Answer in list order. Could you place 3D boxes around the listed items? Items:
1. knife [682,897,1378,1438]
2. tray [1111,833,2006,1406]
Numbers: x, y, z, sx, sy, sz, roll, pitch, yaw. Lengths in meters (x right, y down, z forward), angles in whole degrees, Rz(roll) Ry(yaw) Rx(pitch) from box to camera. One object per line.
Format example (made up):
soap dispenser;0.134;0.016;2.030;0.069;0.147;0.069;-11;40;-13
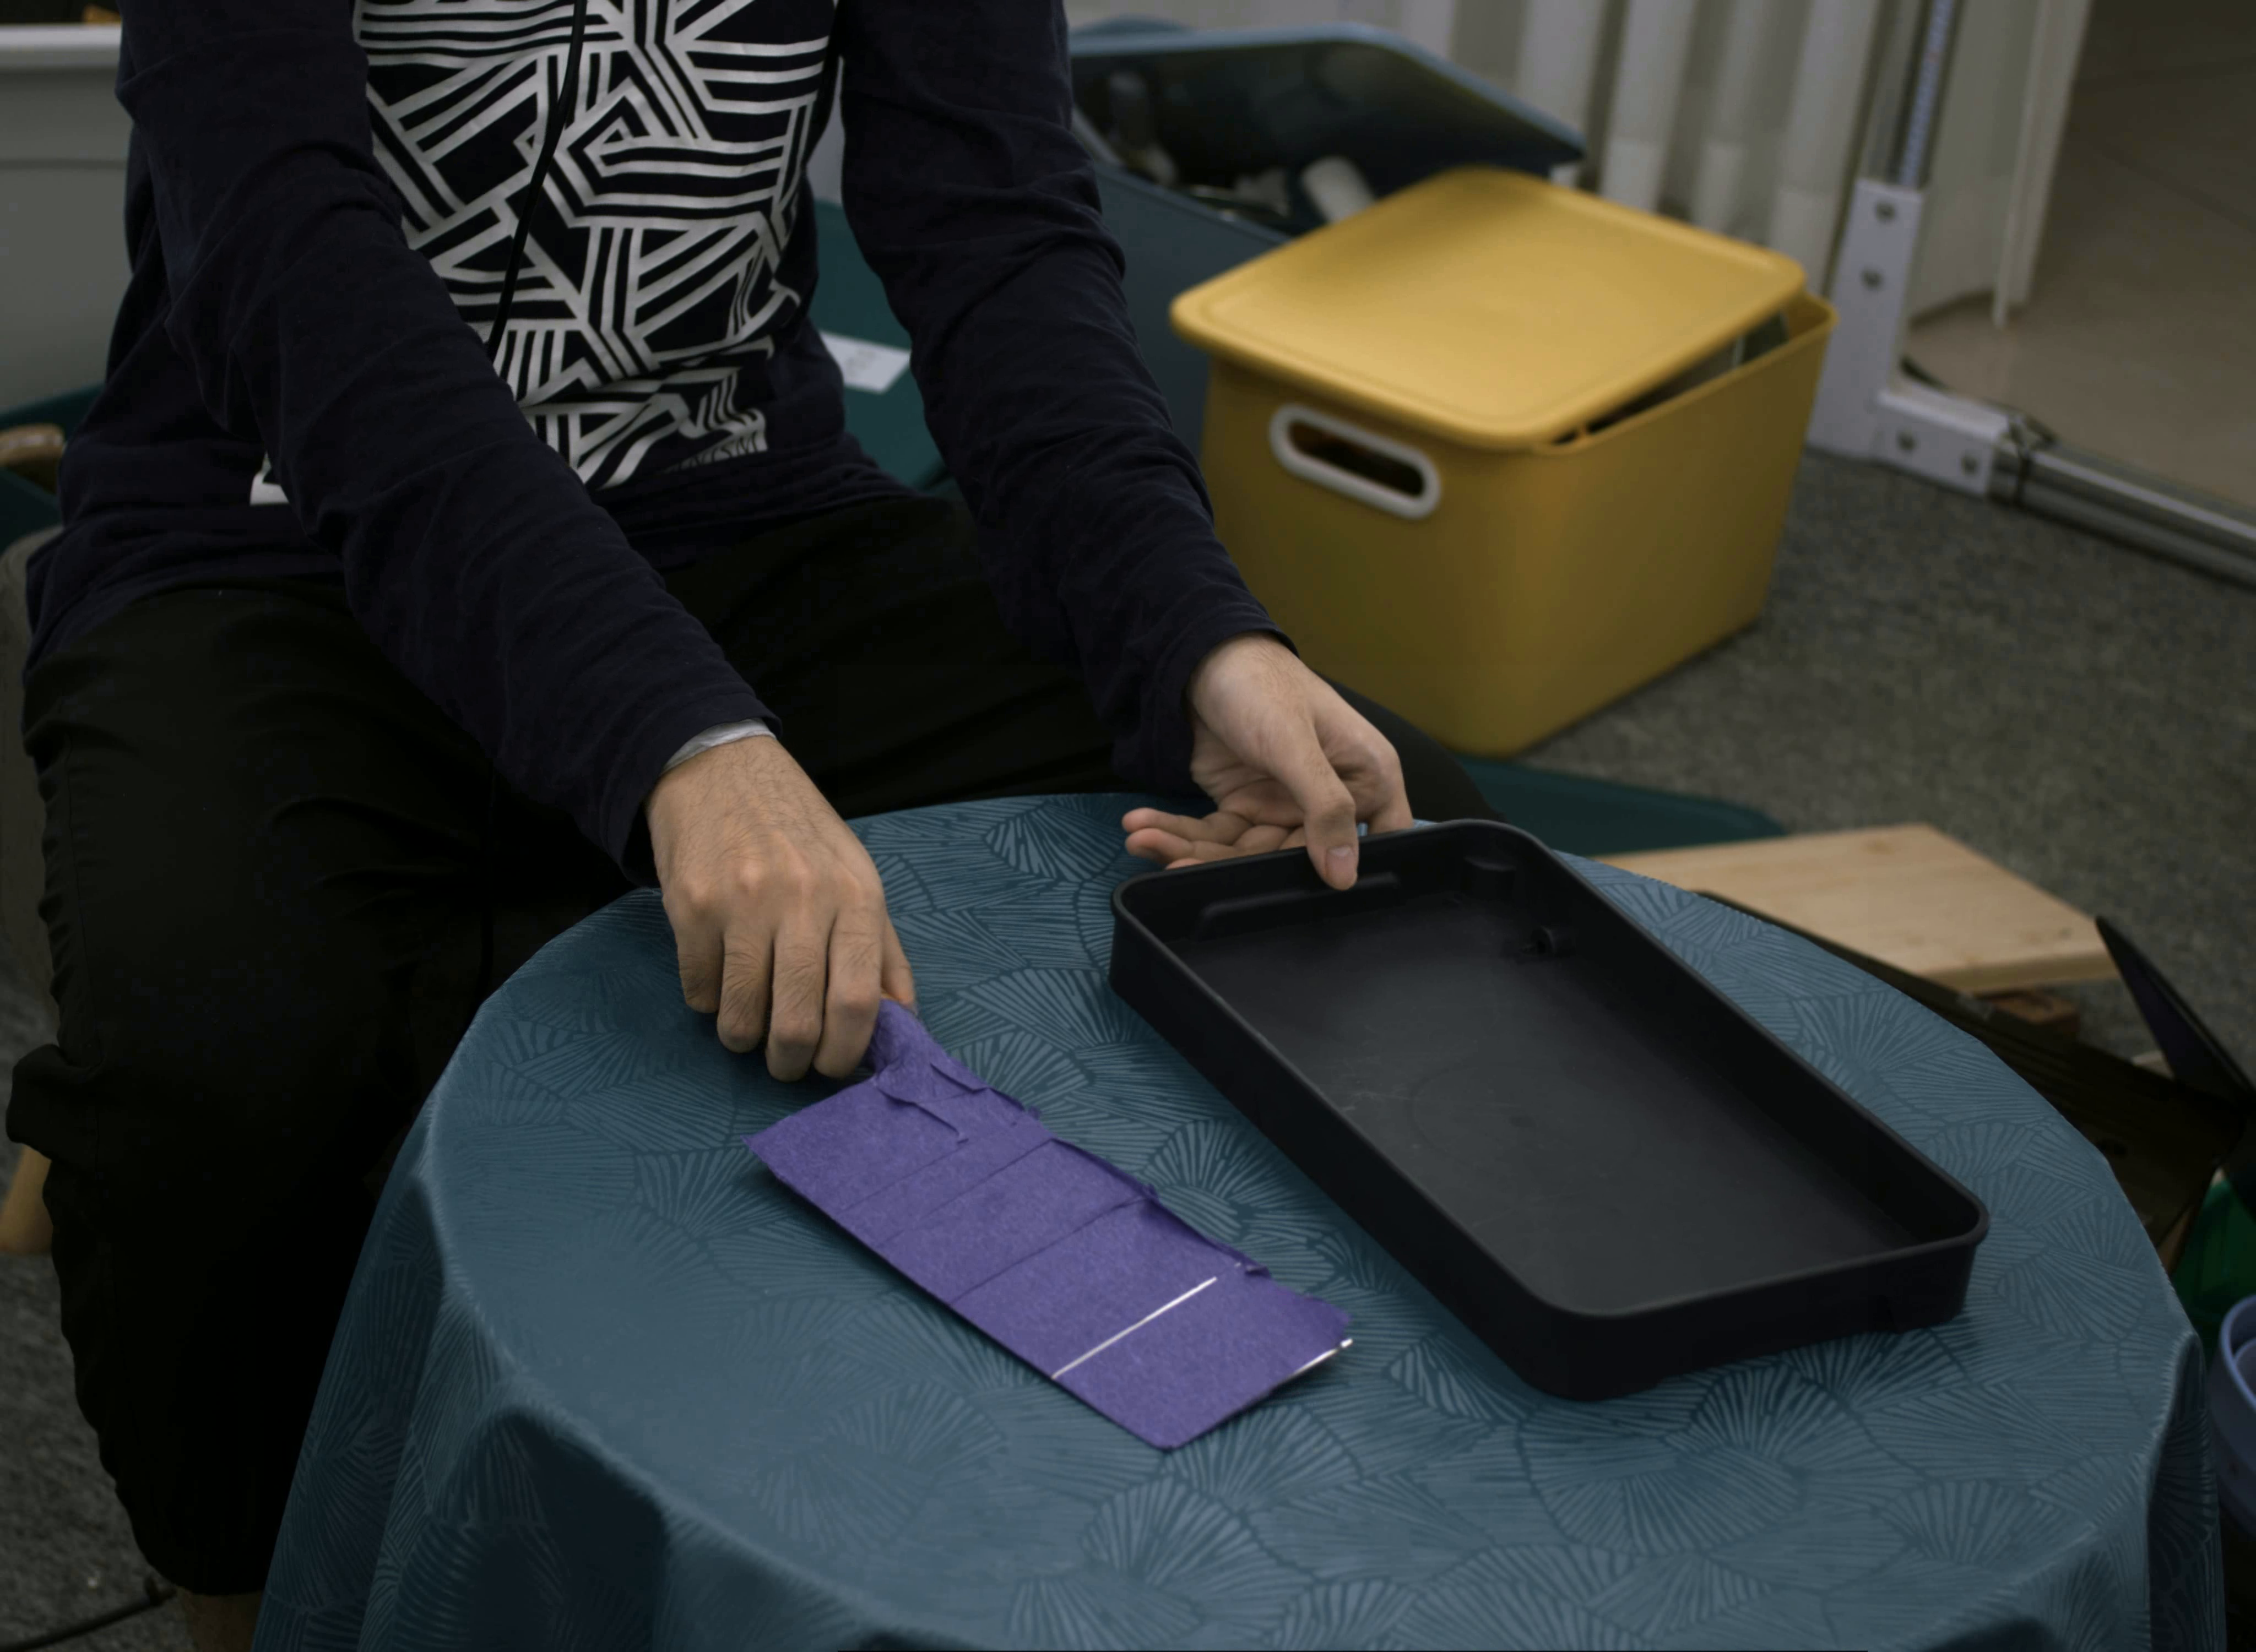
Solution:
knife;-0.061;0.110;1.780;0.103;0.032;0.318;-24;40;-38
tray;0.142;0.095;1.857;0.183;0.037;0.321;-10;30;-29
